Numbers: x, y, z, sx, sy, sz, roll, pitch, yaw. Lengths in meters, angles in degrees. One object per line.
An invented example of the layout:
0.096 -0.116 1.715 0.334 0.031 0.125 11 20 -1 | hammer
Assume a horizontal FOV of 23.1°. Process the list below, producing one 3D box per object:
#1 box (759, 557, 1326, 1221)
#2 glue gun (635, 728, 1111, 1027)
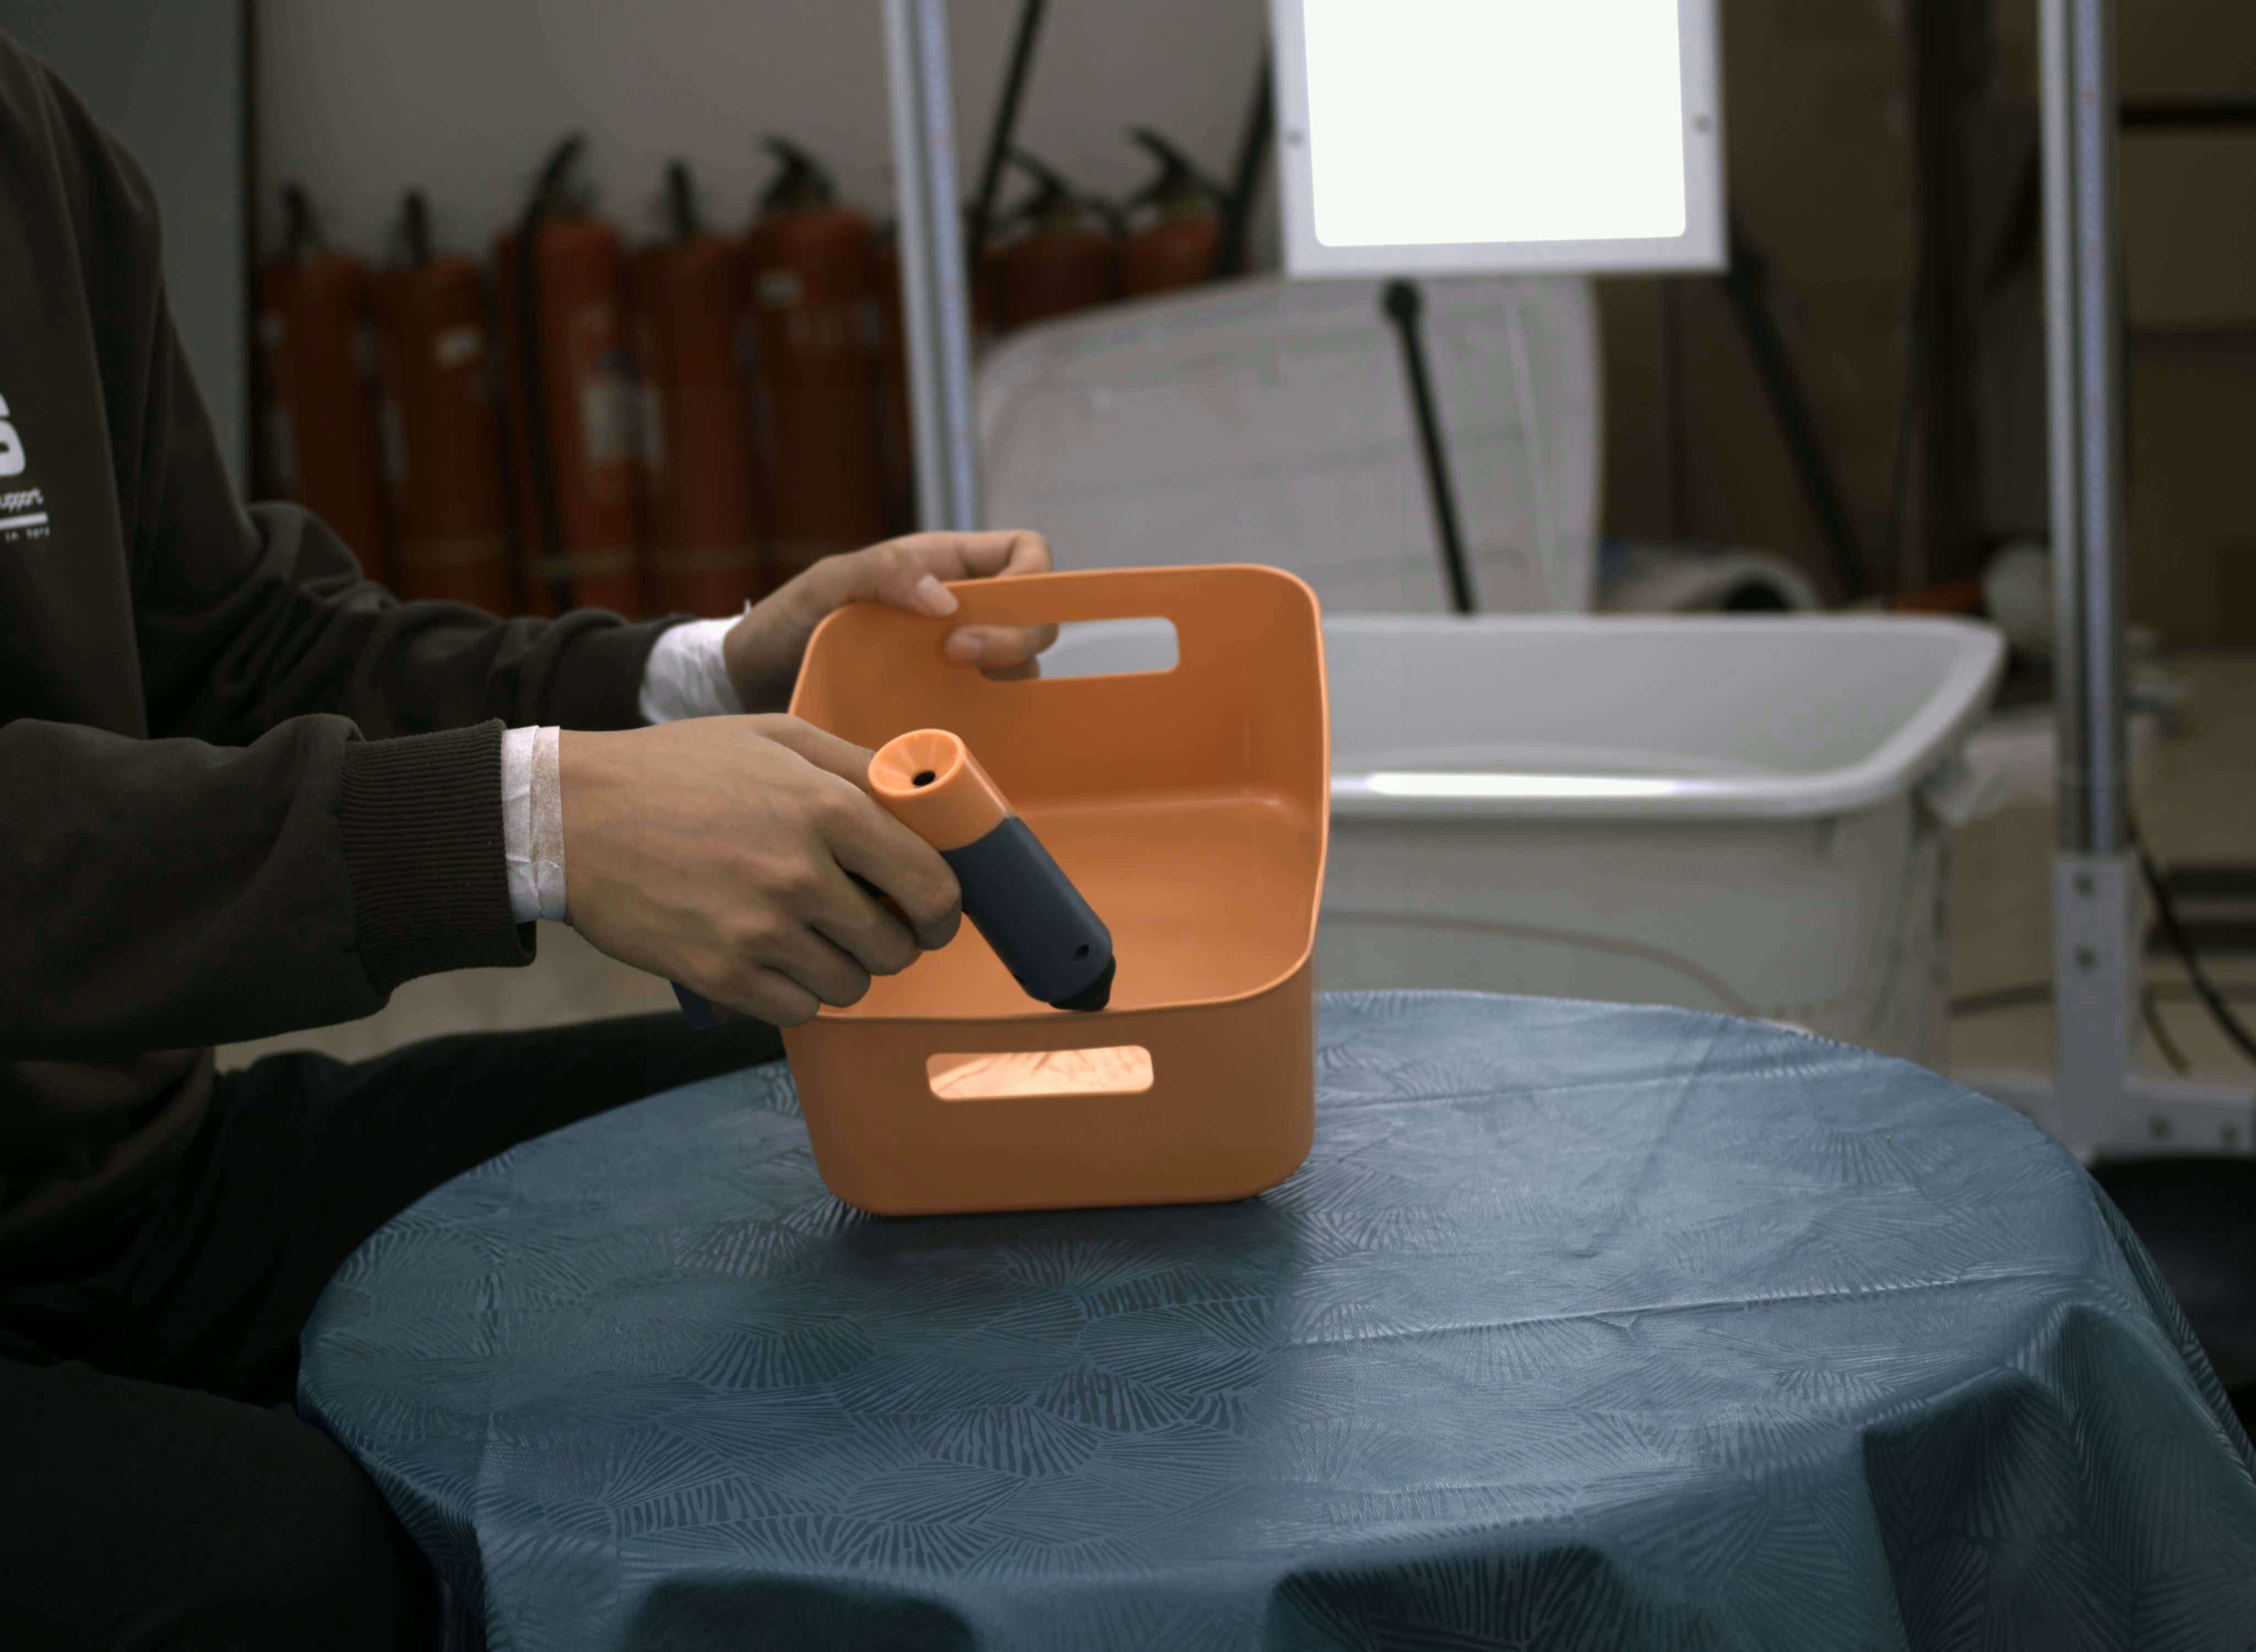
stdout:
-0.023 0.024 1.958 0.200 0.103 0.272 -5 35 7 | box
-0.082 0.027 1.794 0.141 0.118 0.041 -8 38 13 | glue gun
